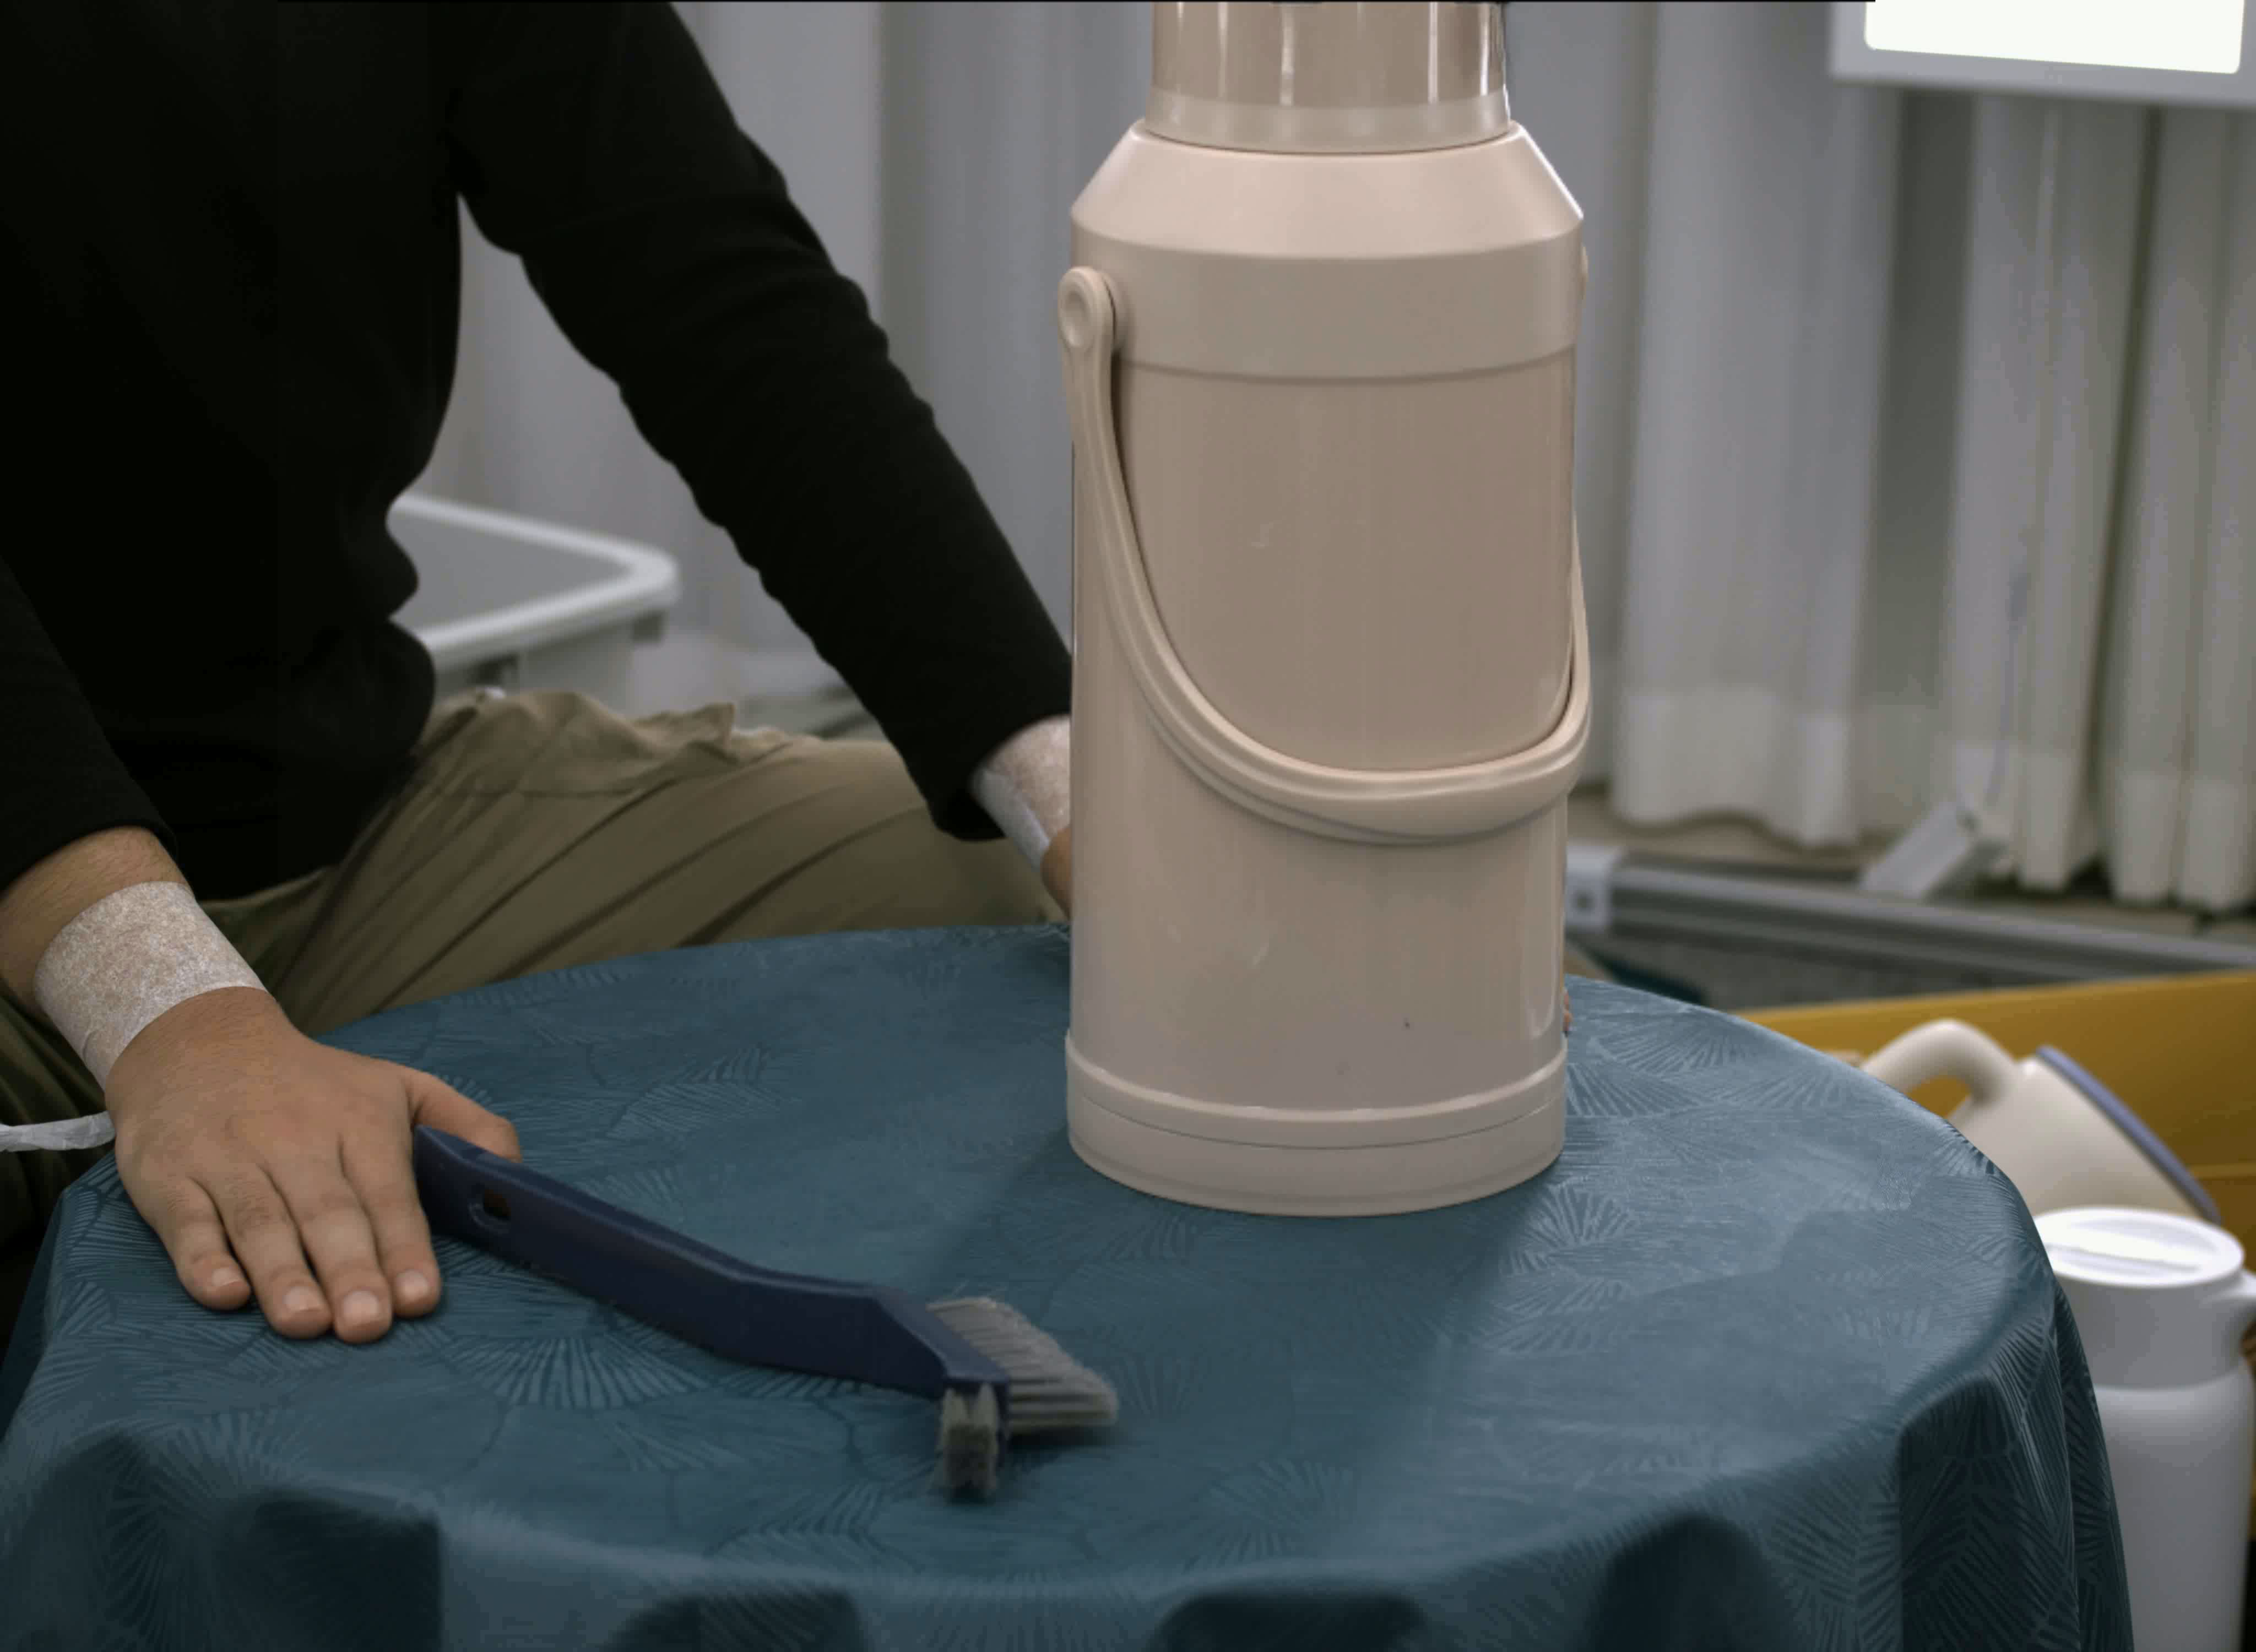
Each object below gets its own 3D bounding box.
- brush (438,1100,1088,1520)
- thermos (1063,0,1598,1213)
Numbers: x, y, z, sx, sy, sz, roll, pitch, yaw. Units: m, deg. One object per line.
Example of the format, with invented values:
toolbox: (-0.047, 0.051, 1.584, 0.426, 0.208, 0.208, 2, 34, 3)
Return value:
brush: (-0.122, 0.132, 1.483, 0.269, 0.034, 0.096, 16, 20, 37)
thermos: (0.056, -0.097, 1.632, 0.176, 0.410, 0.204, -11, 20, -29)
